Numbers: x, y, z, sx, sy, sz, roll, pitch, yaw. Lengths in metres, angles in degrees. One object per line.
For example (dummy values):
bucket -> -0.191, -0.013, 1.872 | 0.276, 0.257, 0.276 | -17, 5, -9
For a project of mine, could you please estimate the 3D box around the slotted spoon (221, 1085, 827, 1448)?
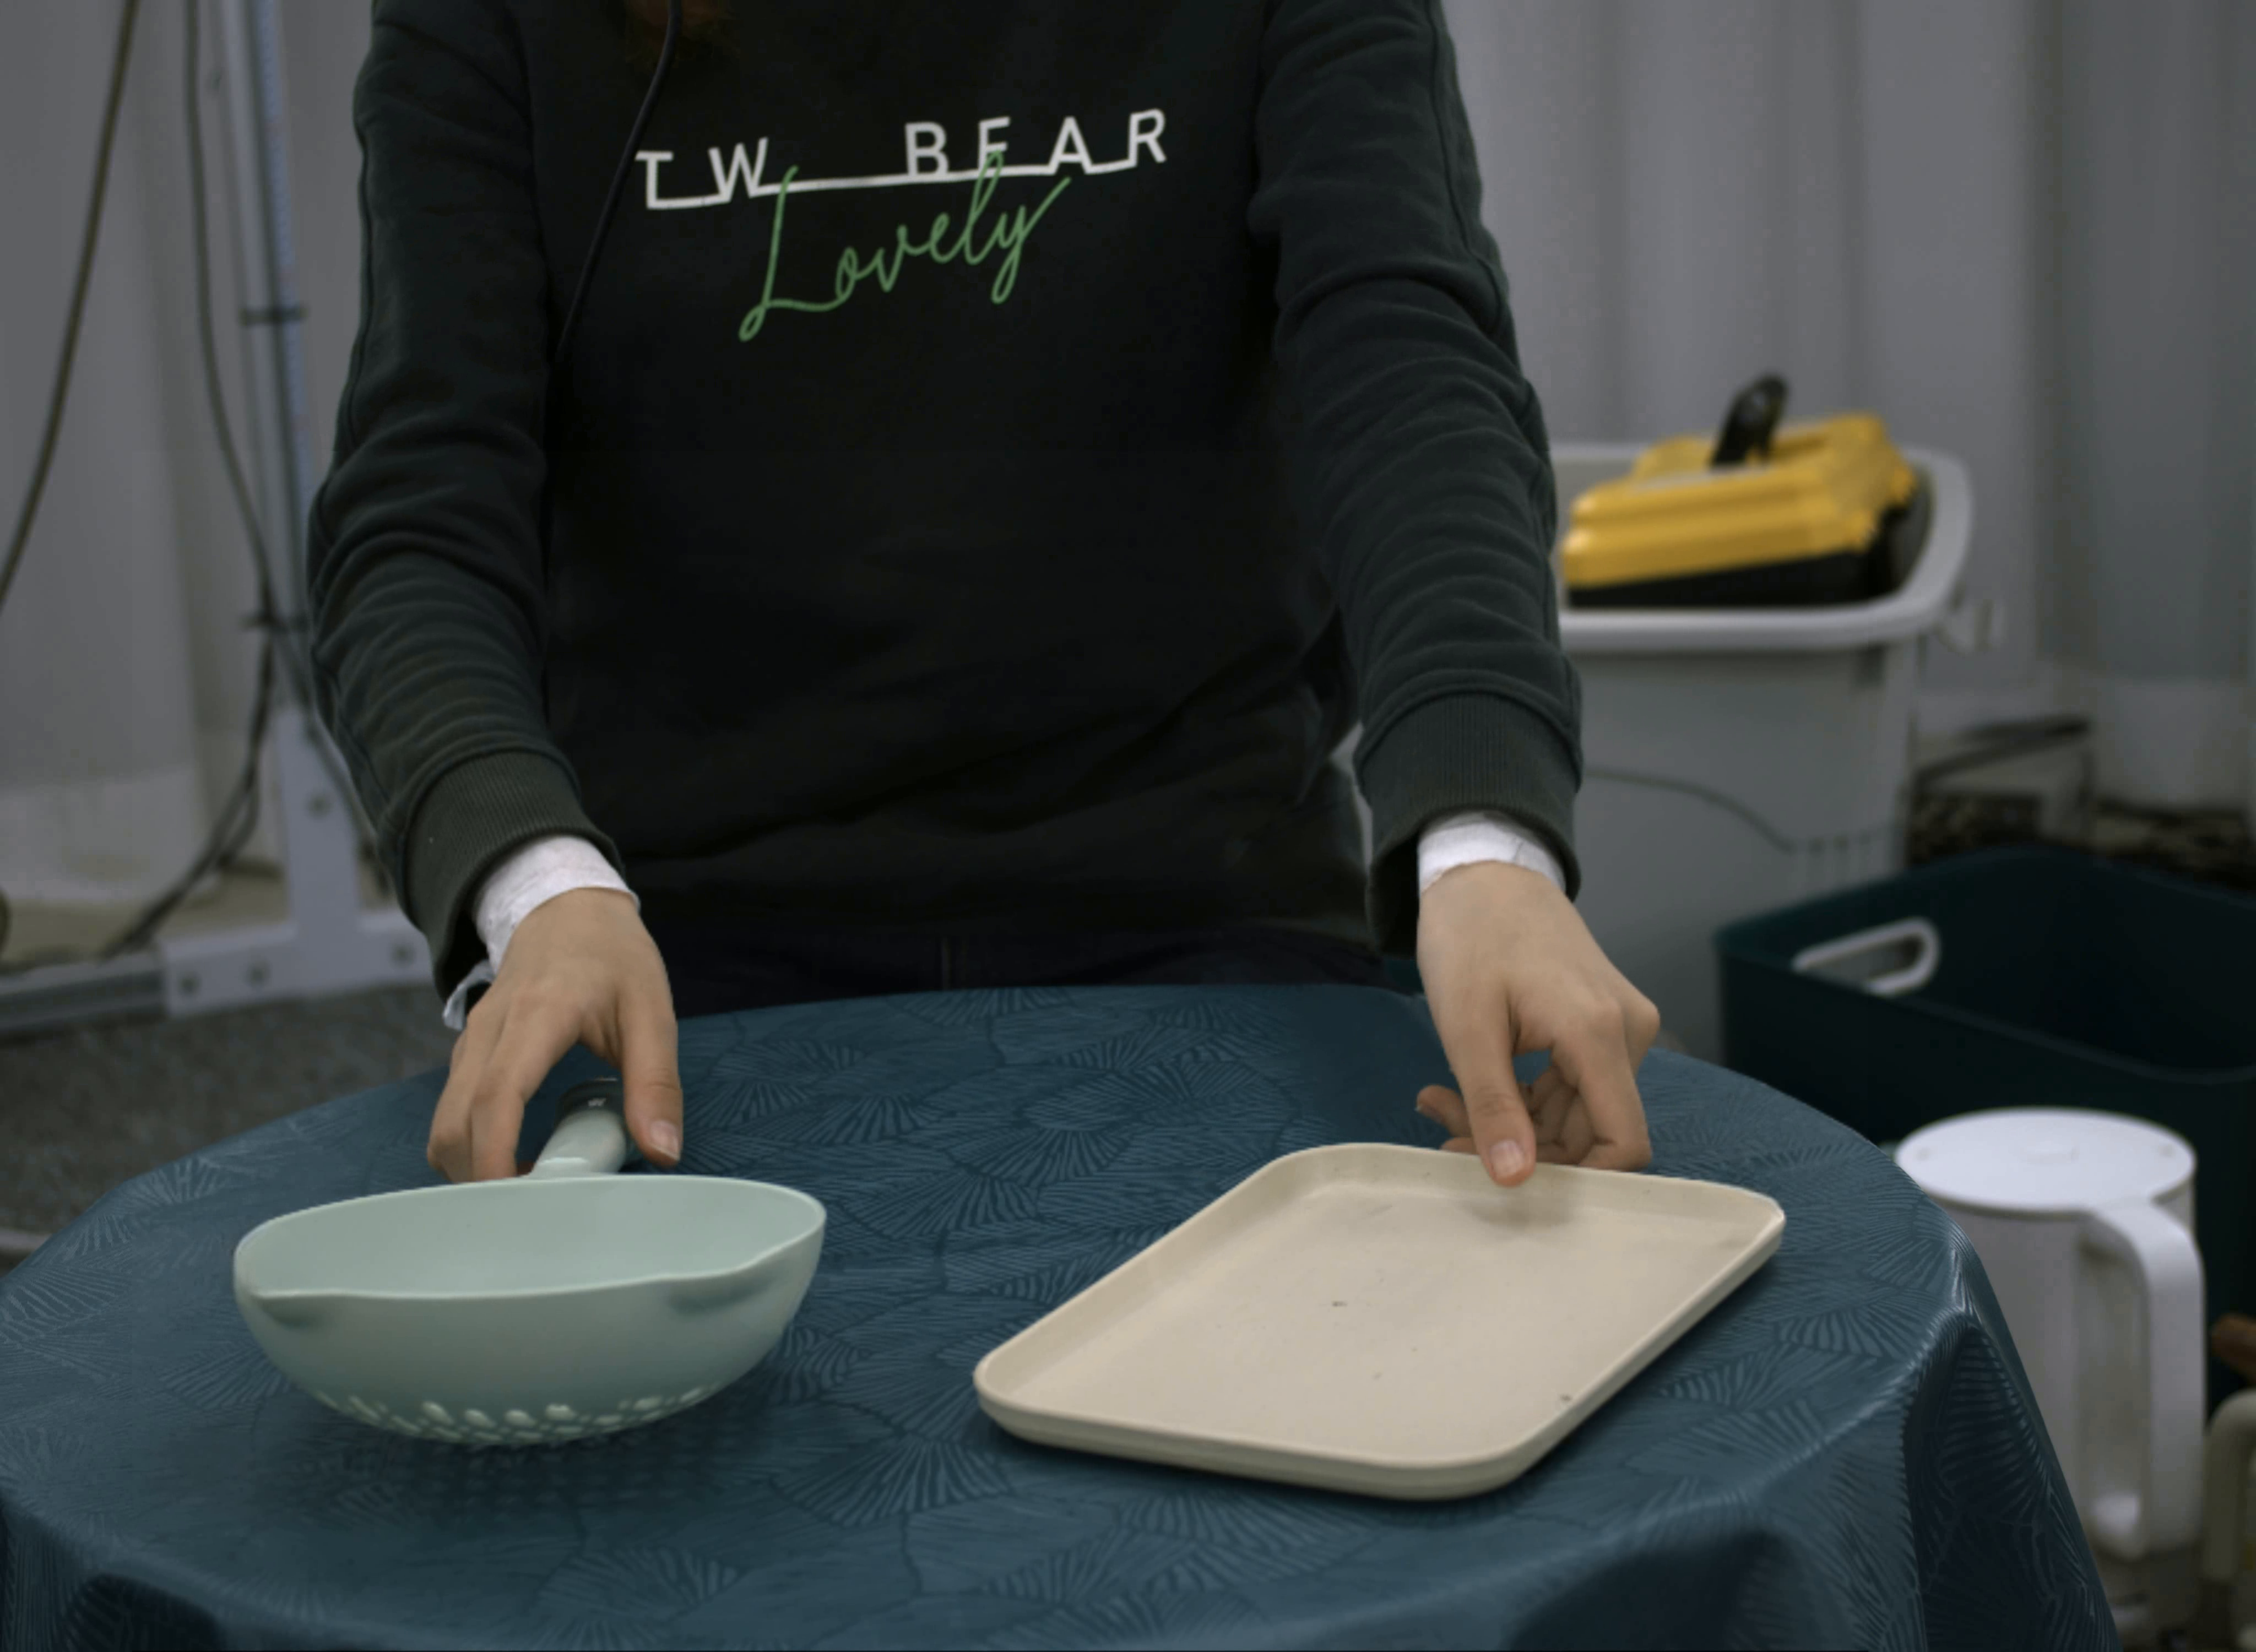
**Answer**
slotted spoon -> -0.167, 0.115, 1.625 | 0.169, 0.075, 0.361 | -2, 14, 0

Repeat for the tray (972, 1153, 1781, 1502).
tray -> 0.075, 0.142, 1.567 | 0.171, 0.017, 0.240 | 5, 16, 27
